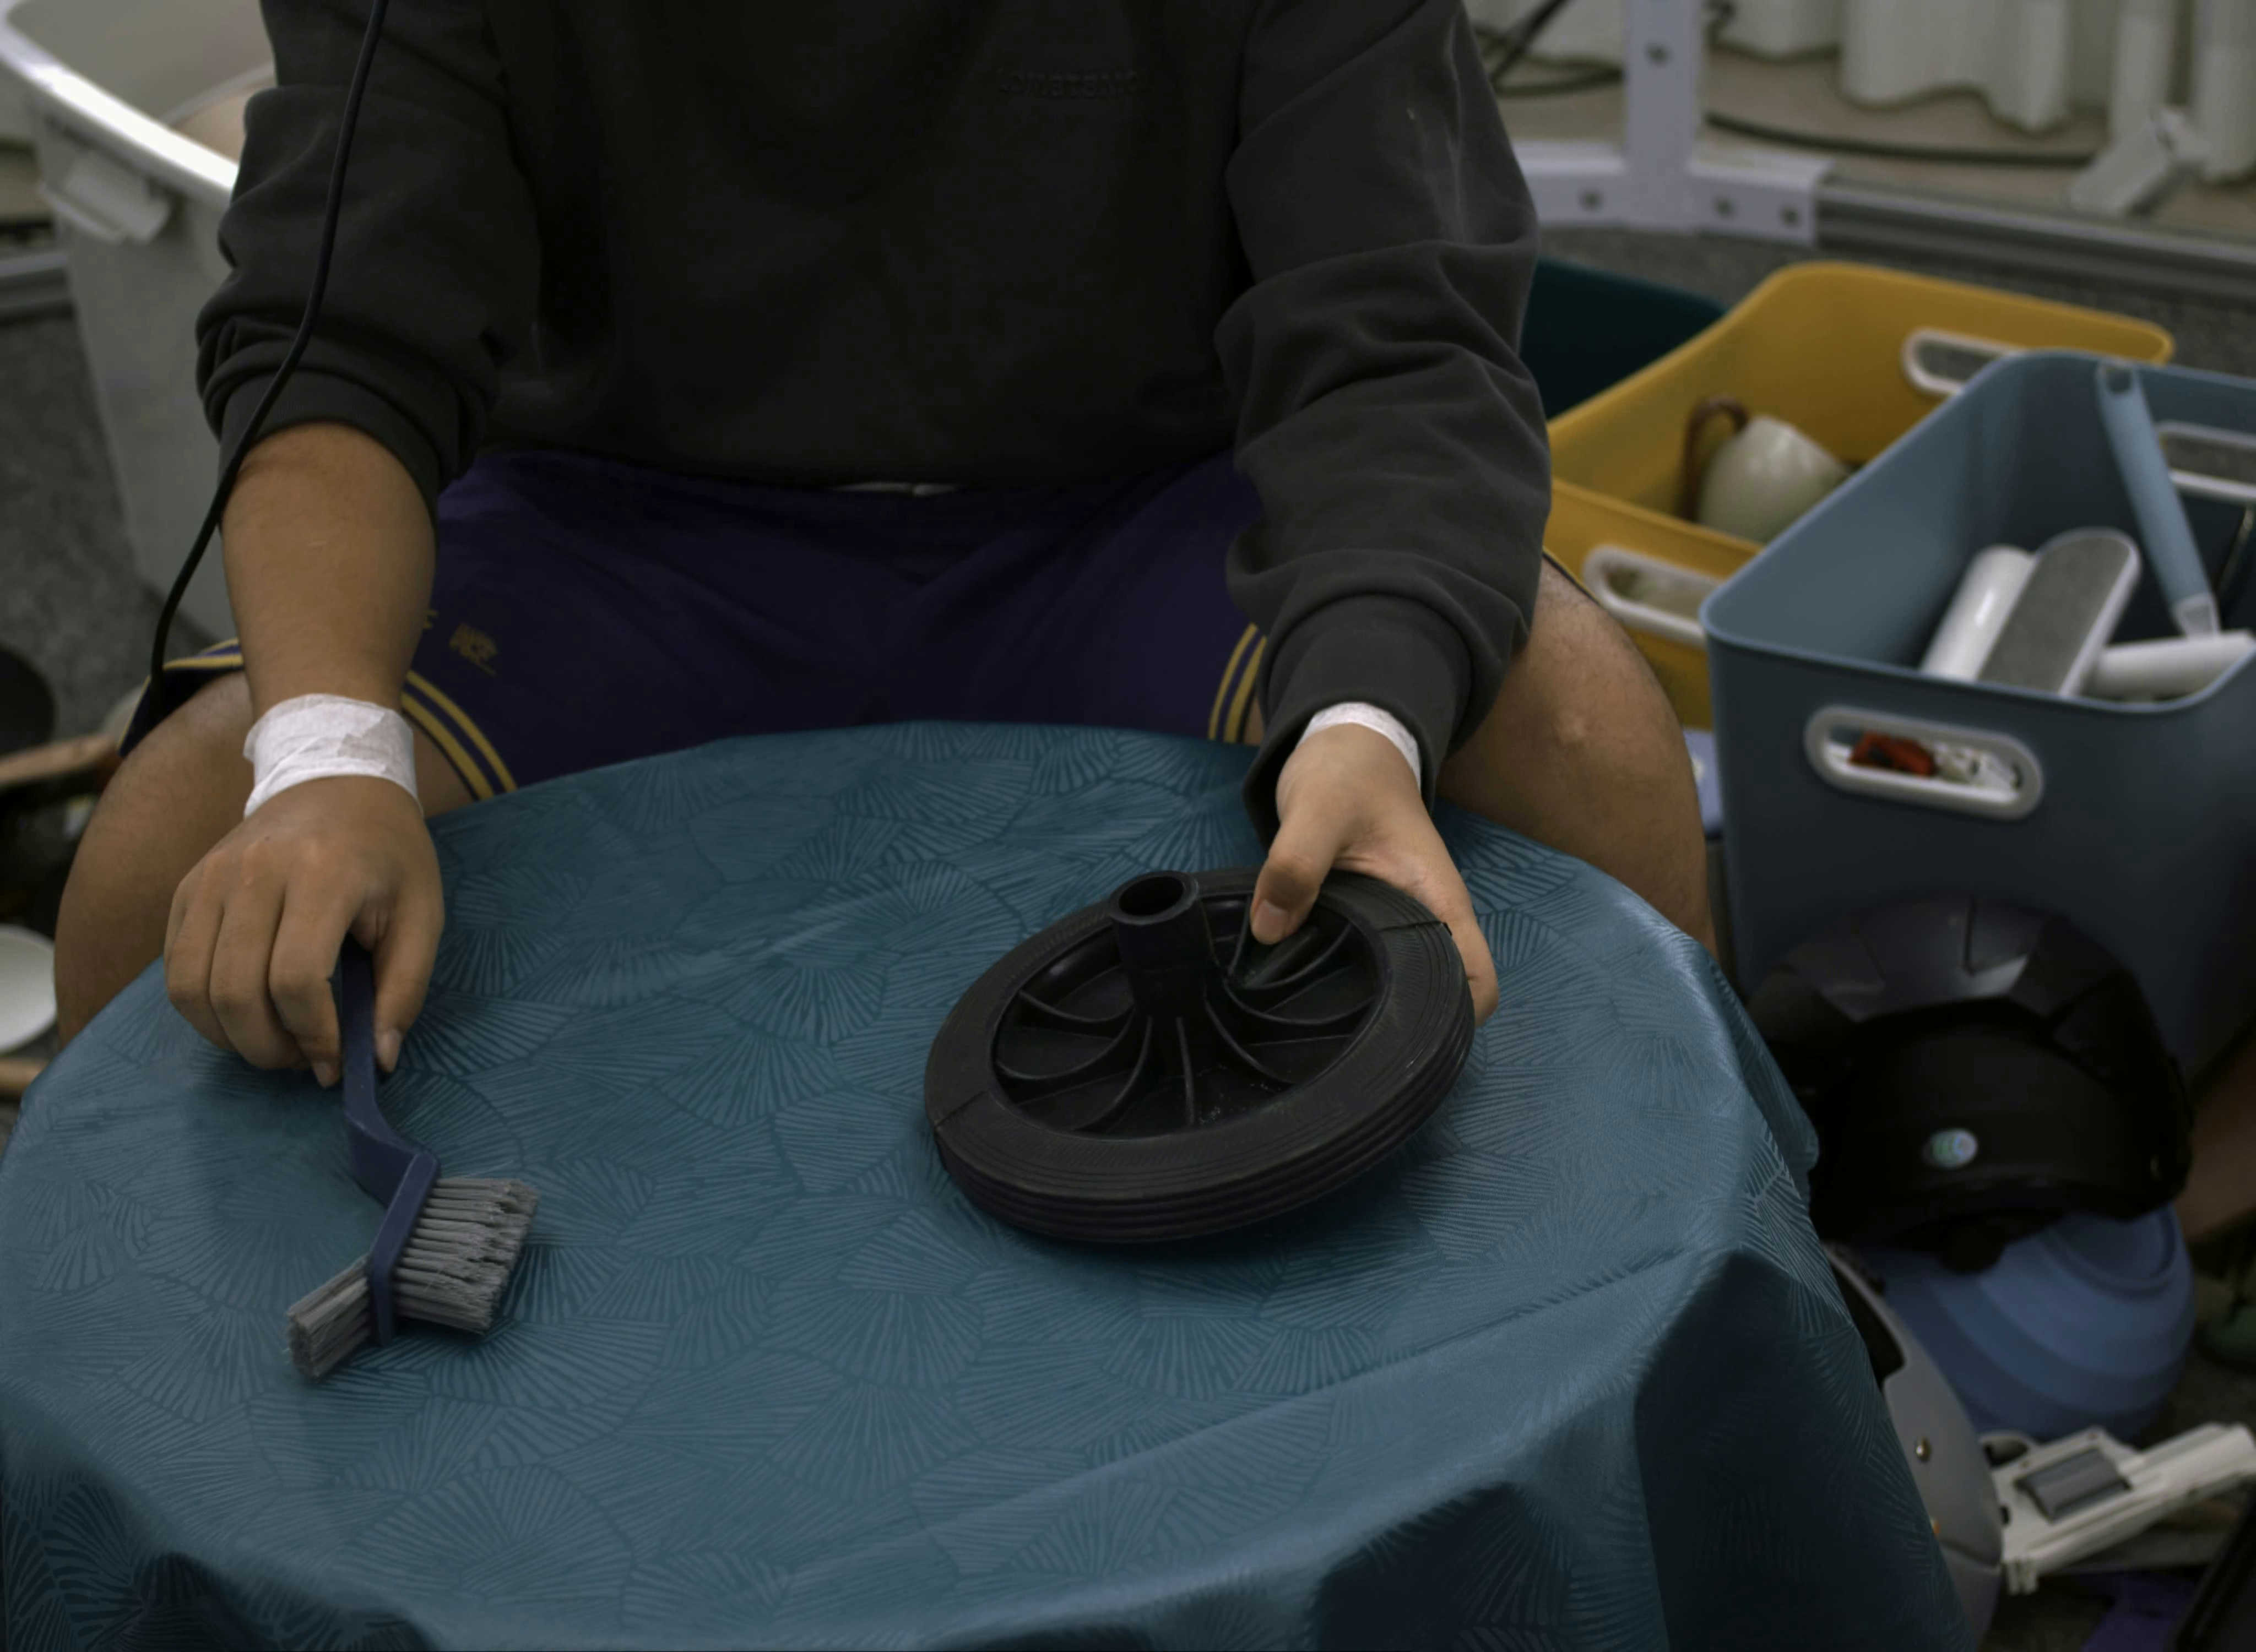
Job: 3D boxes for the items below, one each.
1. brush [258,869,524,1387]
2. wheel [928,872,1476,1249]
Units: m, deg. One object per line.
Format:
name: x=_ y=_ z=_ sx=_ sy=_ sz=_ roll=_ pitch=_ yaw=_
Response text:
brush: x=-0.265 y=0.098 z=1.900 sx=0.096 sy=0.033 sz=0.276 roll=-10 pitch=30 yaw=-13
wheel: x=0.019 y=0.059 z=1.877 sx=0.185 sy=0.078 sz=0.193 roll=-3 pitch=32 yaw=21
